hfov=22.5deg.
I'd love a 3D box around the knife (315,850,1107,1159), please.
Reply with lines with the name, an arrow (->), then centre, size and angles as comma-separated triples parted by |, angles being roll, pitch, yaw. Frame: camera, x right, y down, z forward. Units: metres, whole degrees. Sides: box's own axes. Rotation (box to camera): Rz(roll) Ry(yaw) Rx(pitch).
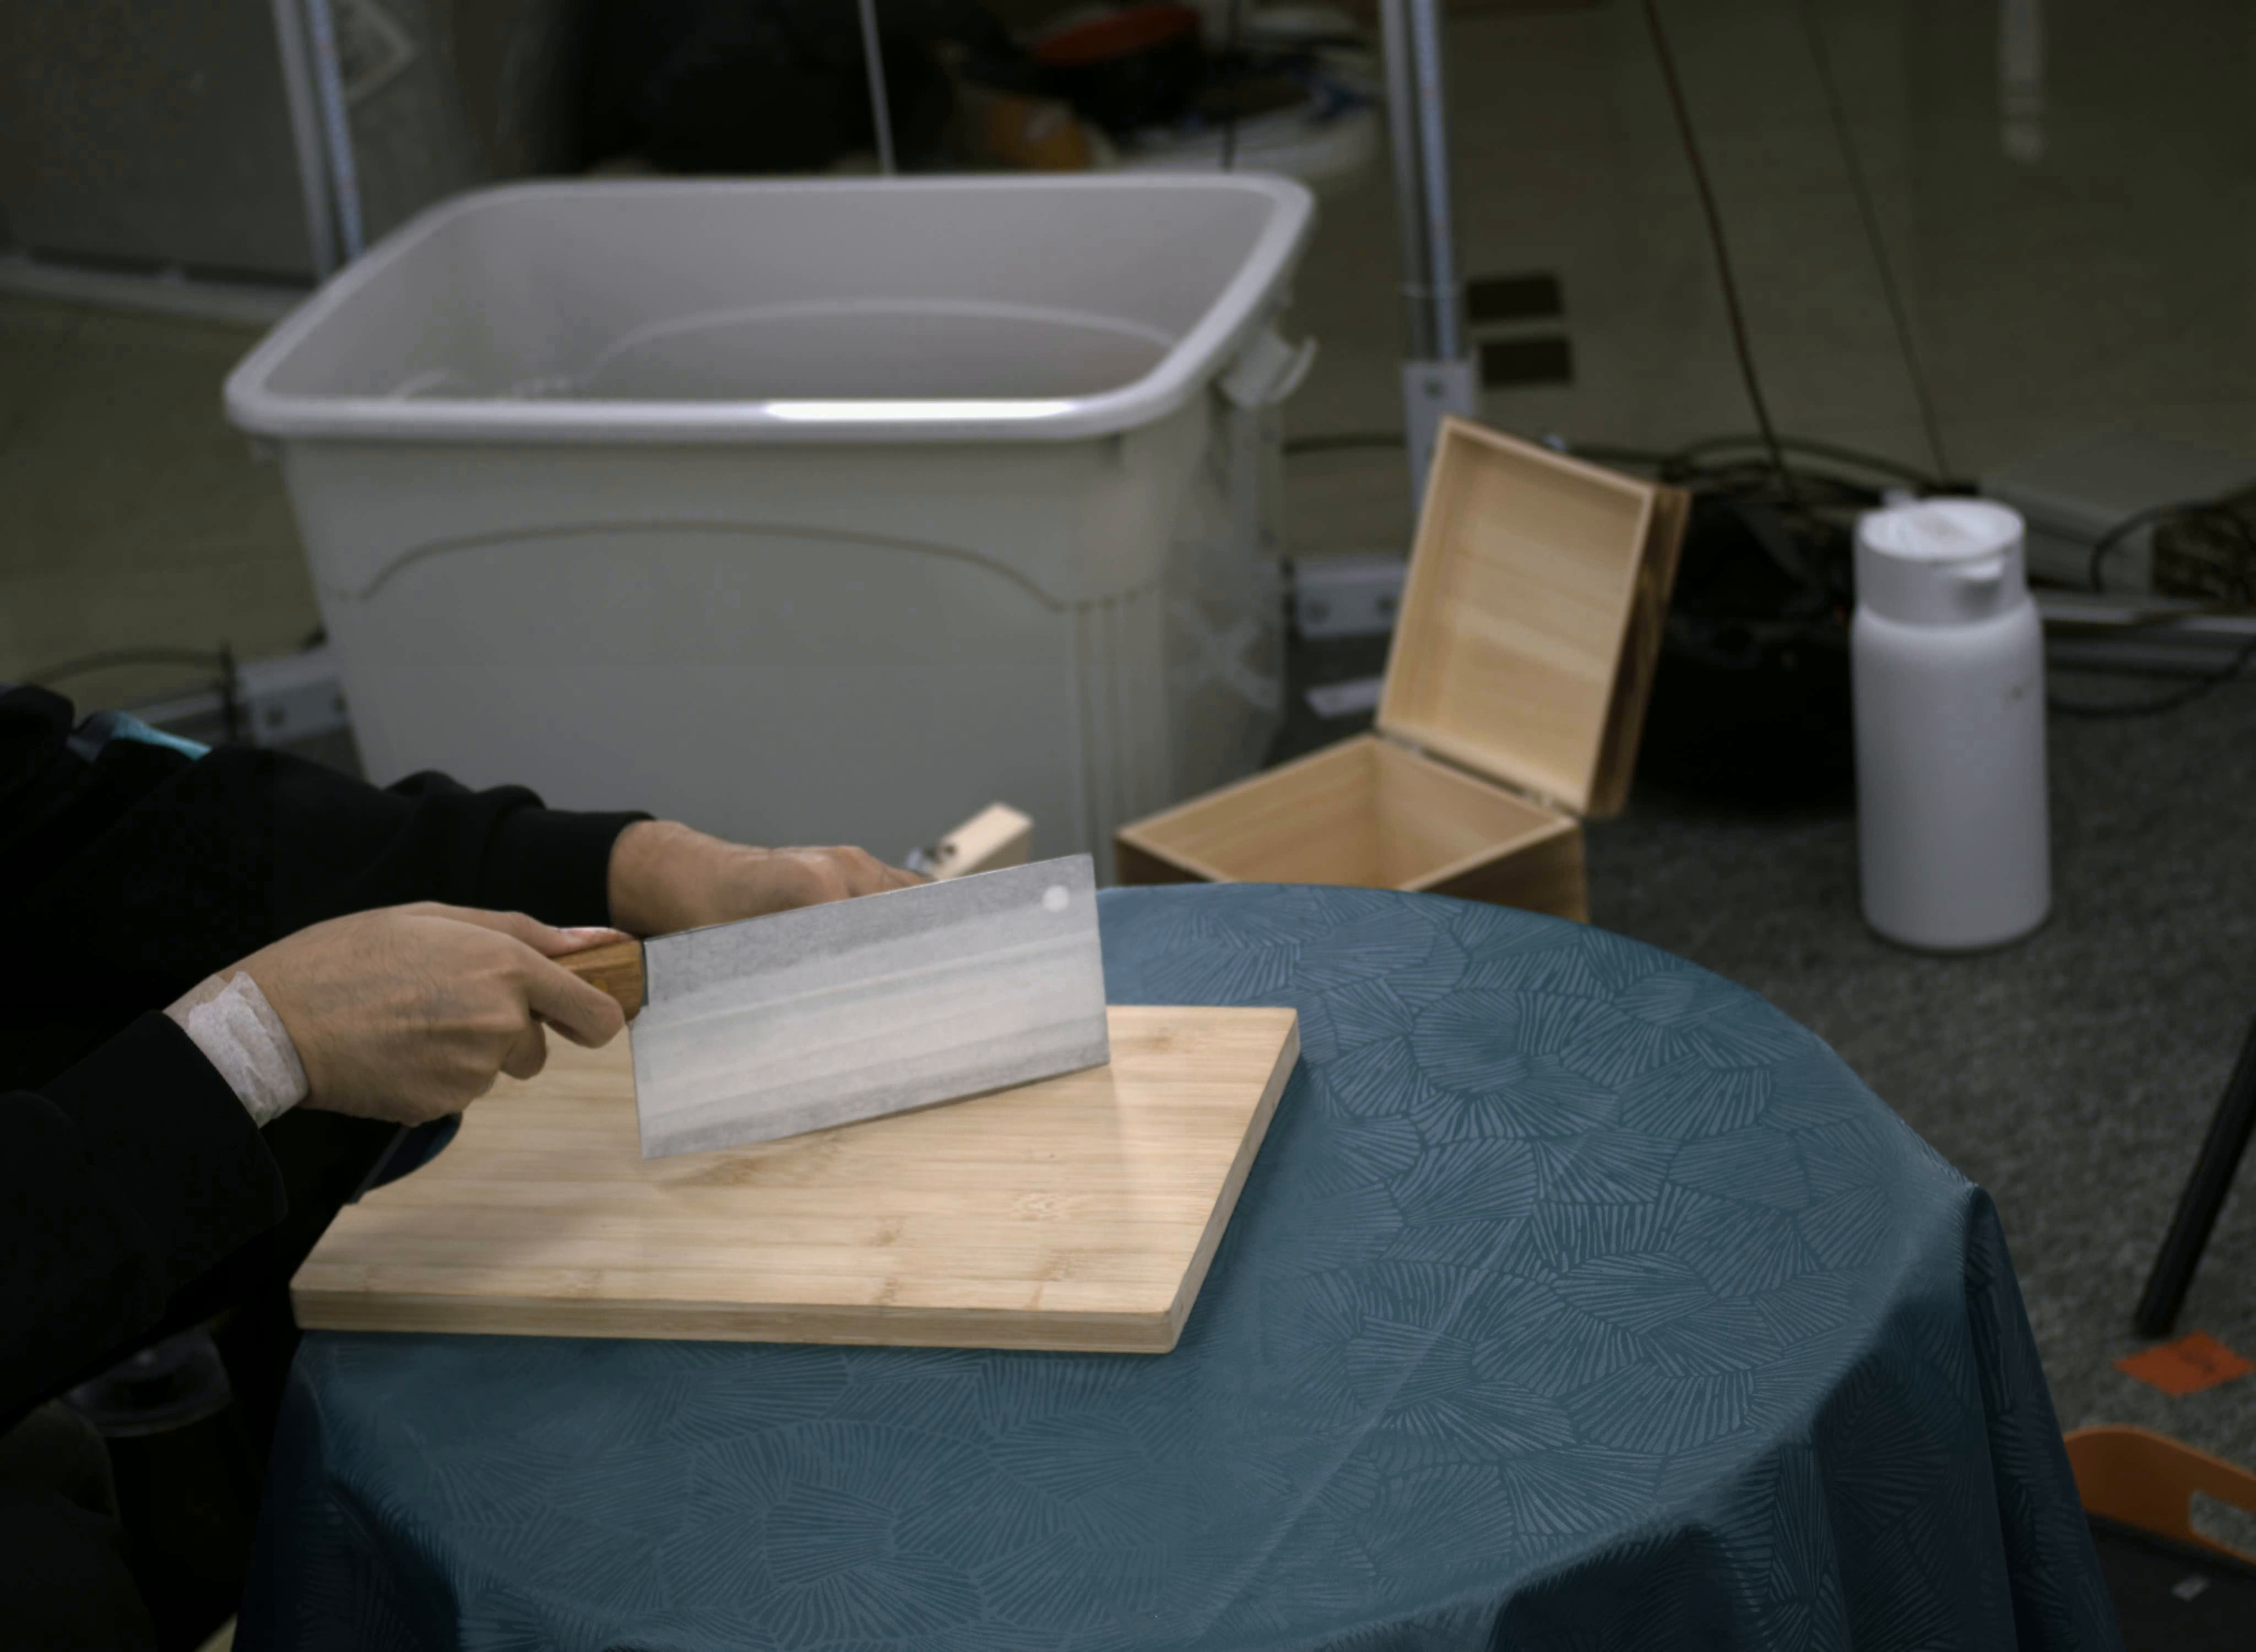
knife -> -0.153, 0.077, 2.144 | 0.305, 0.094, 0.021 | -11, 23, -16

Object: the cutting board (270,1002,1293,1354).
cutting board -> -0.127, 0.130, 2.178 | 0.348, 0.024, 0.247 | 0, 26, 13
